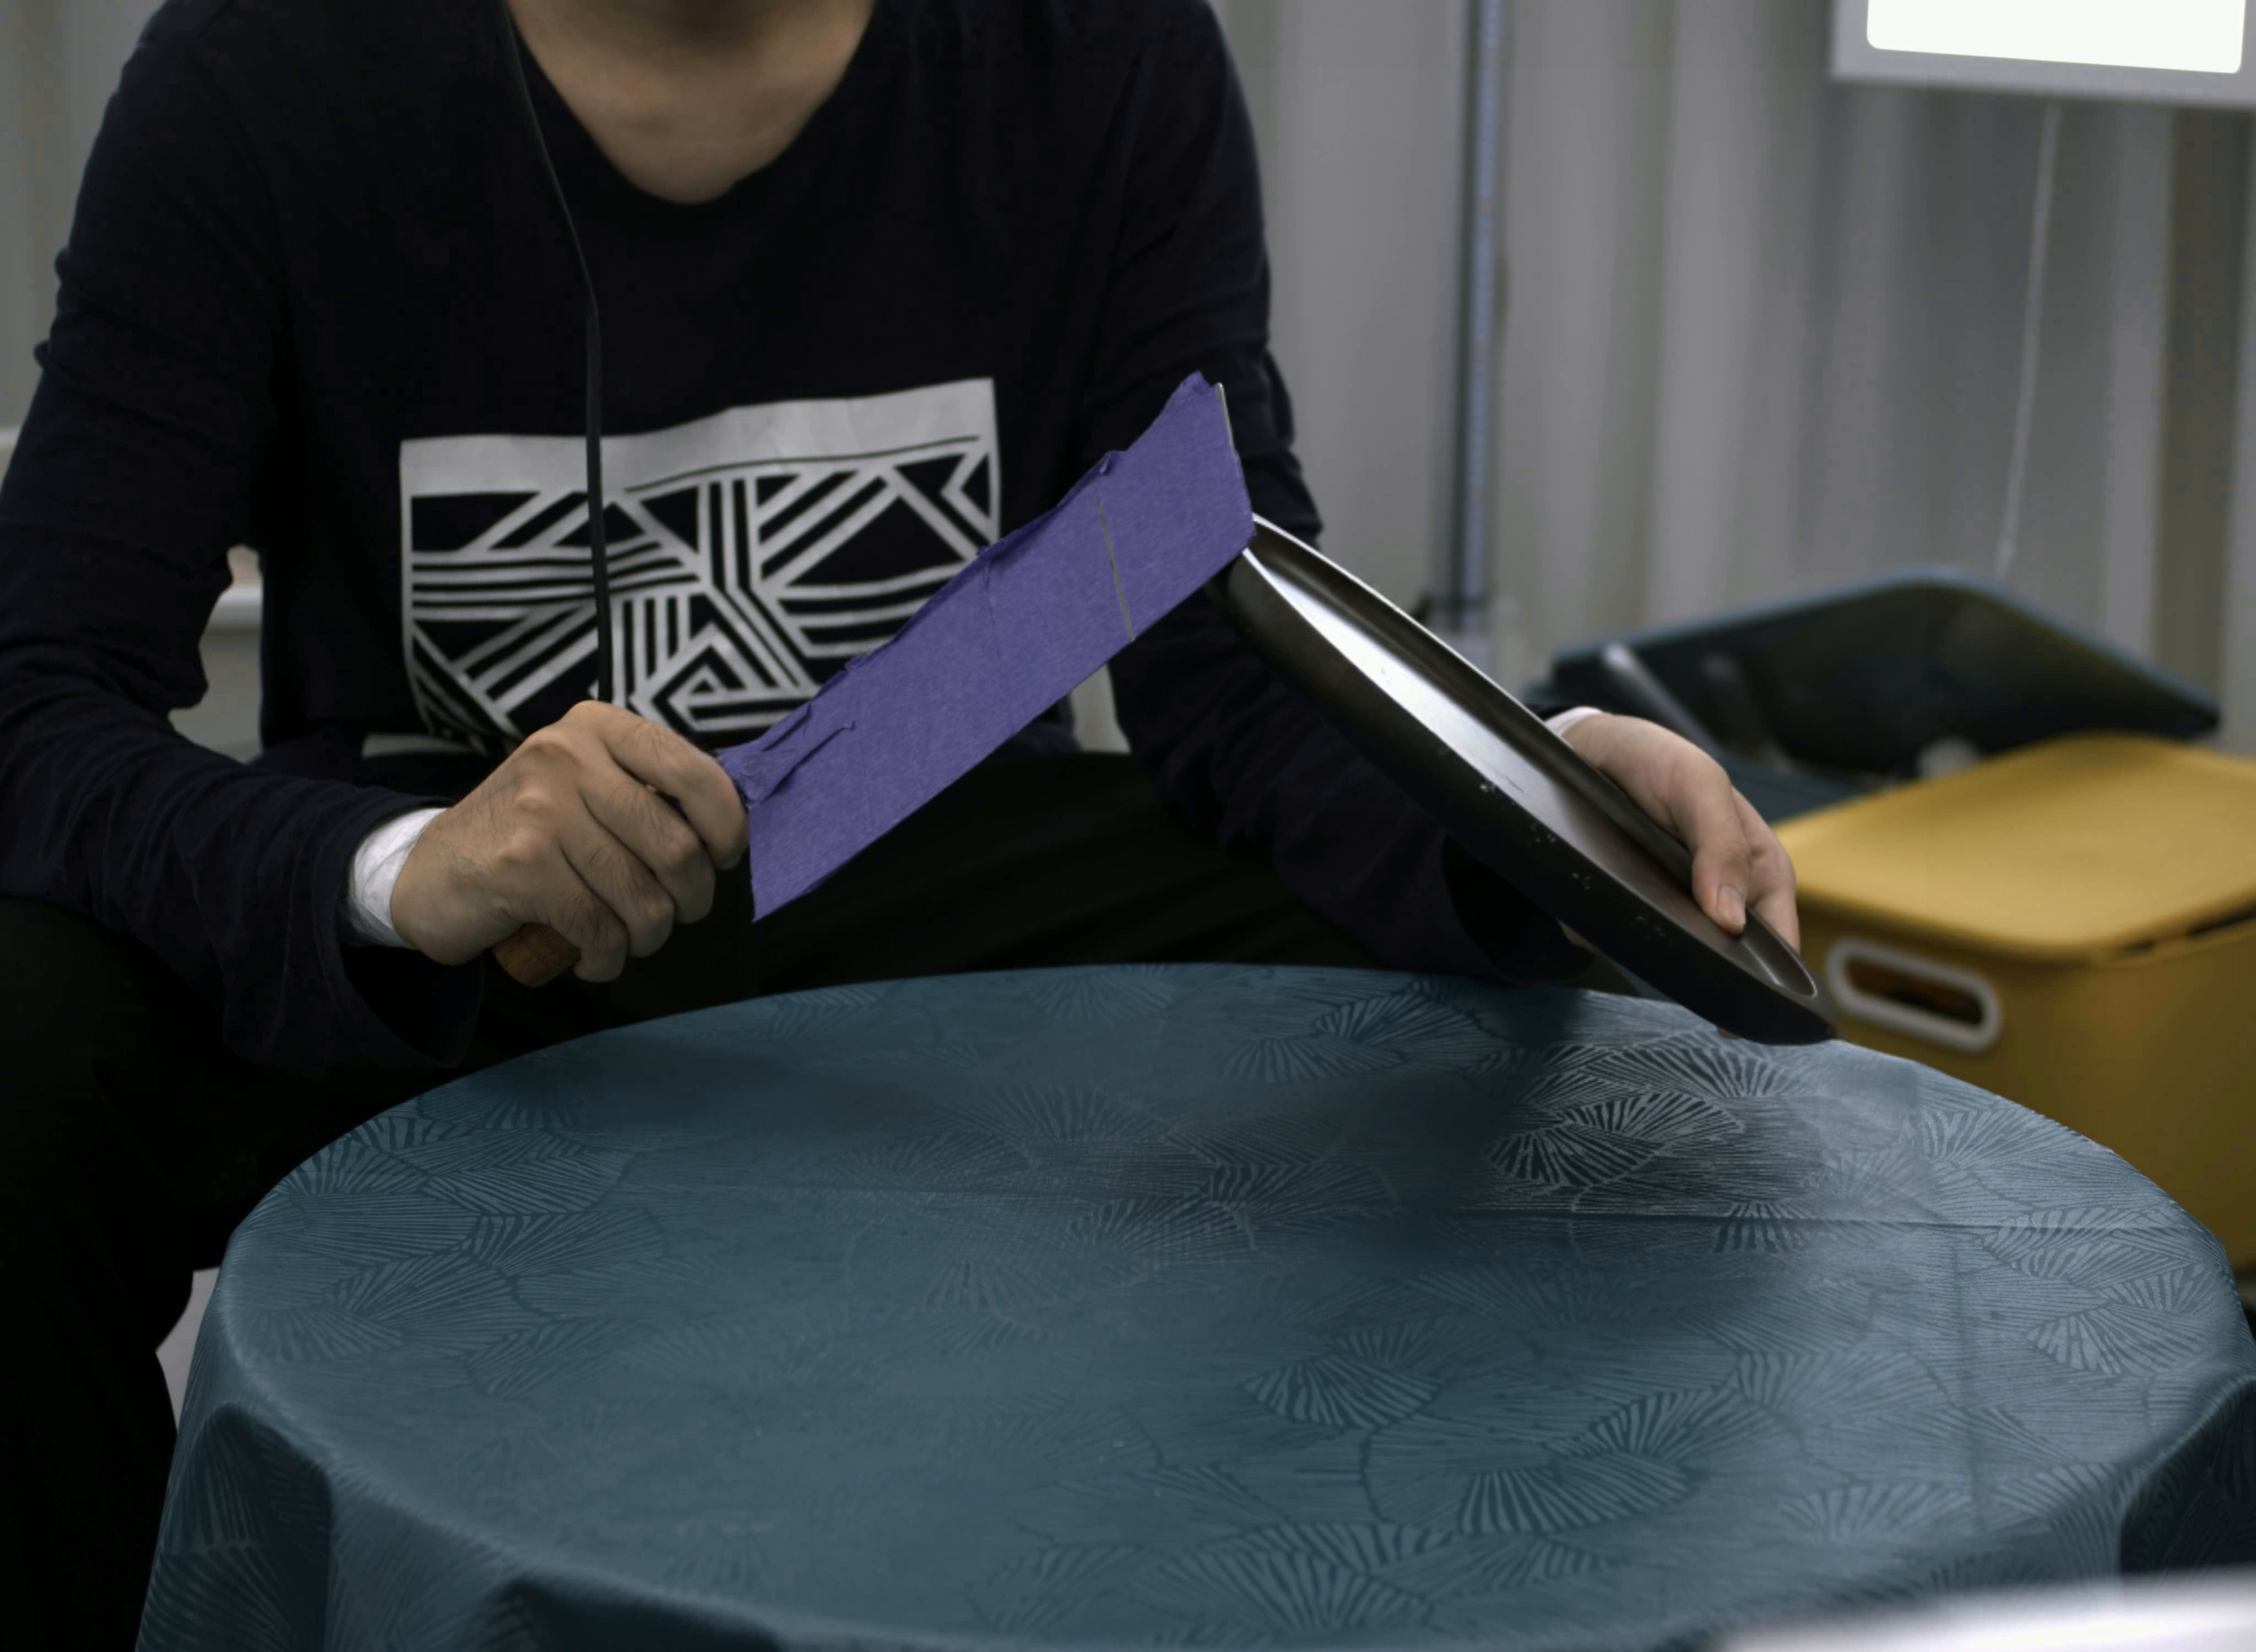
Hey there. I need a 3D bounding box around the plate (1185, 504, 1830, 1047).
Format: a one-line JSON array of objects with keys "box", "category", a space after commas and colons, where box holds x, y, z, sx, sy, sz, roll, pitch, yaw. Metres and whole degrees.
[{"box": [0.116, -0.016, 1.635, 0.255, 0.029, 0.254, 38, 10, -7], "category": "plate"}]

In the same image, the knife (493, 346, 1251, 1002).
[{"box": [-0.084, -0.028, 1.649, 0.032, 0.315, 0.103, 37, 25, -30], "category": "knife"}]
